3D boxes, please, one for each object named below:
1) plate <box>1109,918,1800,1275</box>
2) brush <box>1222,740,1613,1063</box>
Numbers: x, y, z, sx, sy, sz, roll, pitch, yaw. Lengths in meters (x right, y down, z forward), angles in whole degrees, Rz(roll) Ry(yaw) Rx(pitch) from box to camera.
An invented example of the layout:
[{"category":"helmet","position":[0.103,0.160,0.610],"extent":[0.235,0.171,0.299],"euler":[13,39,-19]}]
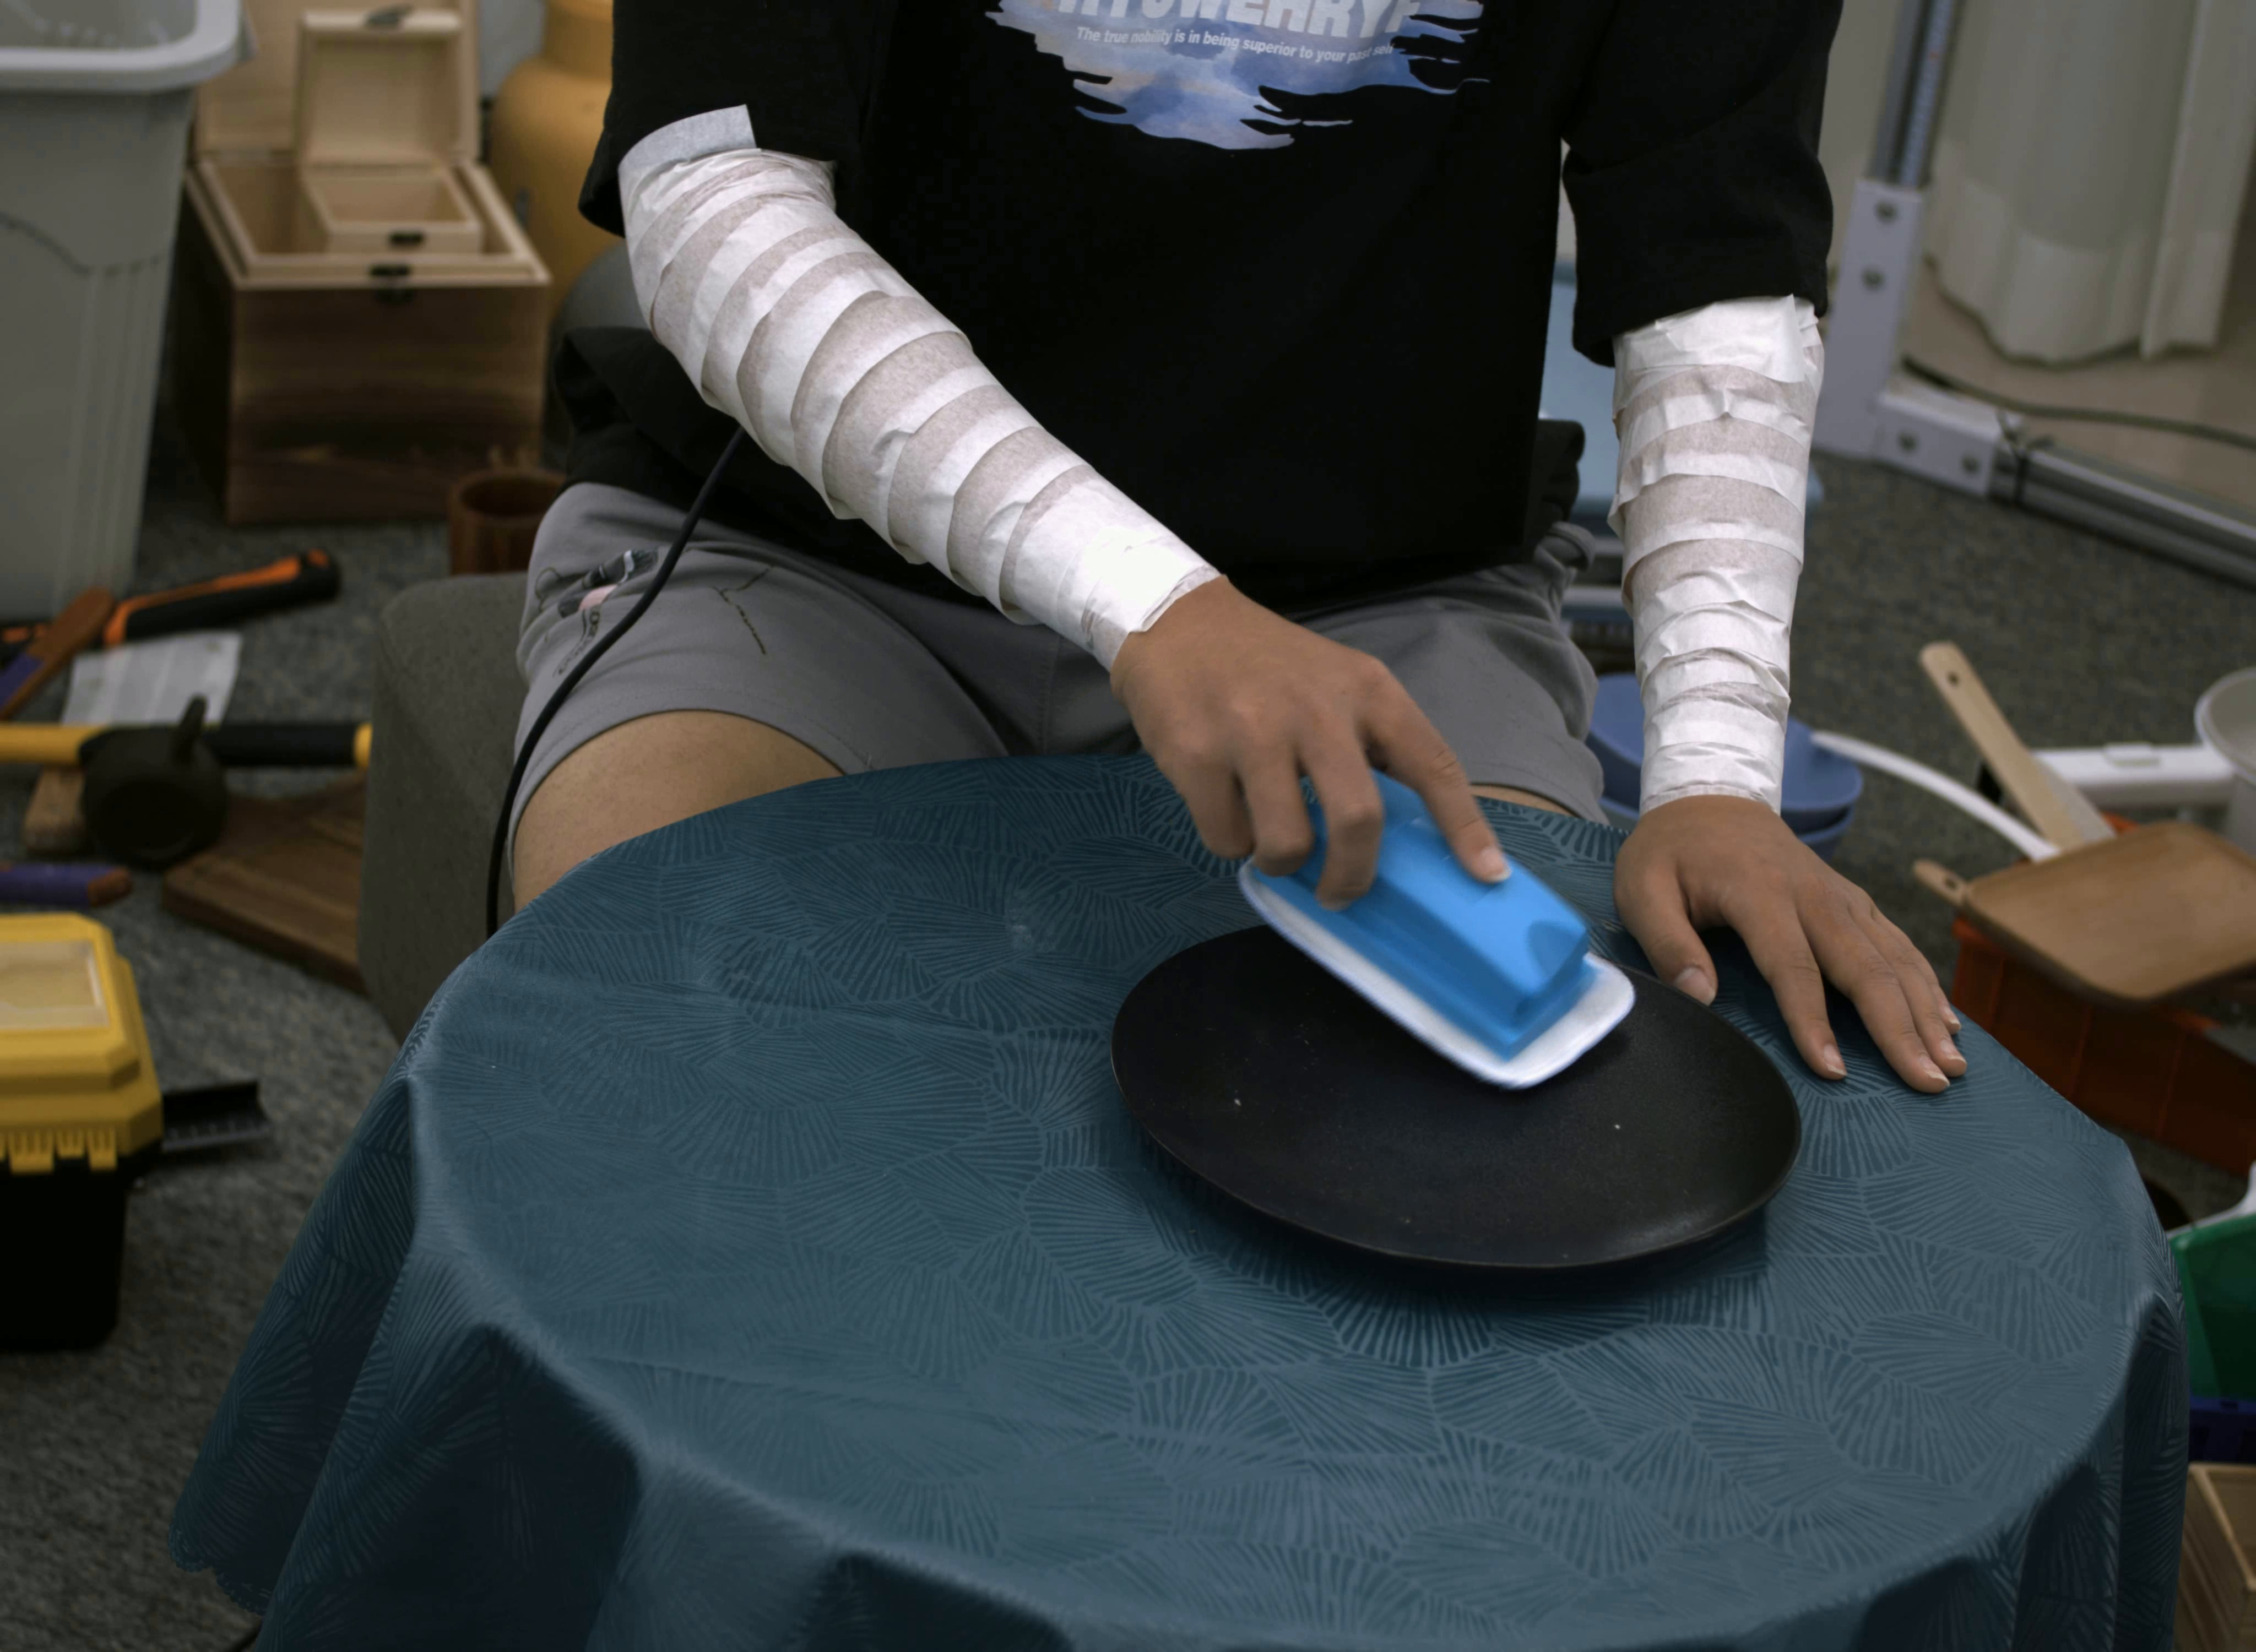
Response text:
[{"category":"plate","position":[0.112,0.097,1.856],"extent":[0.243,0.023,0.246],"euler":[5,27,-3]},{"category":"brush","position":[0.108,0.021,1.907],"extent":[0.144,0.056,0.083],"euler":[38,45,18]}]
